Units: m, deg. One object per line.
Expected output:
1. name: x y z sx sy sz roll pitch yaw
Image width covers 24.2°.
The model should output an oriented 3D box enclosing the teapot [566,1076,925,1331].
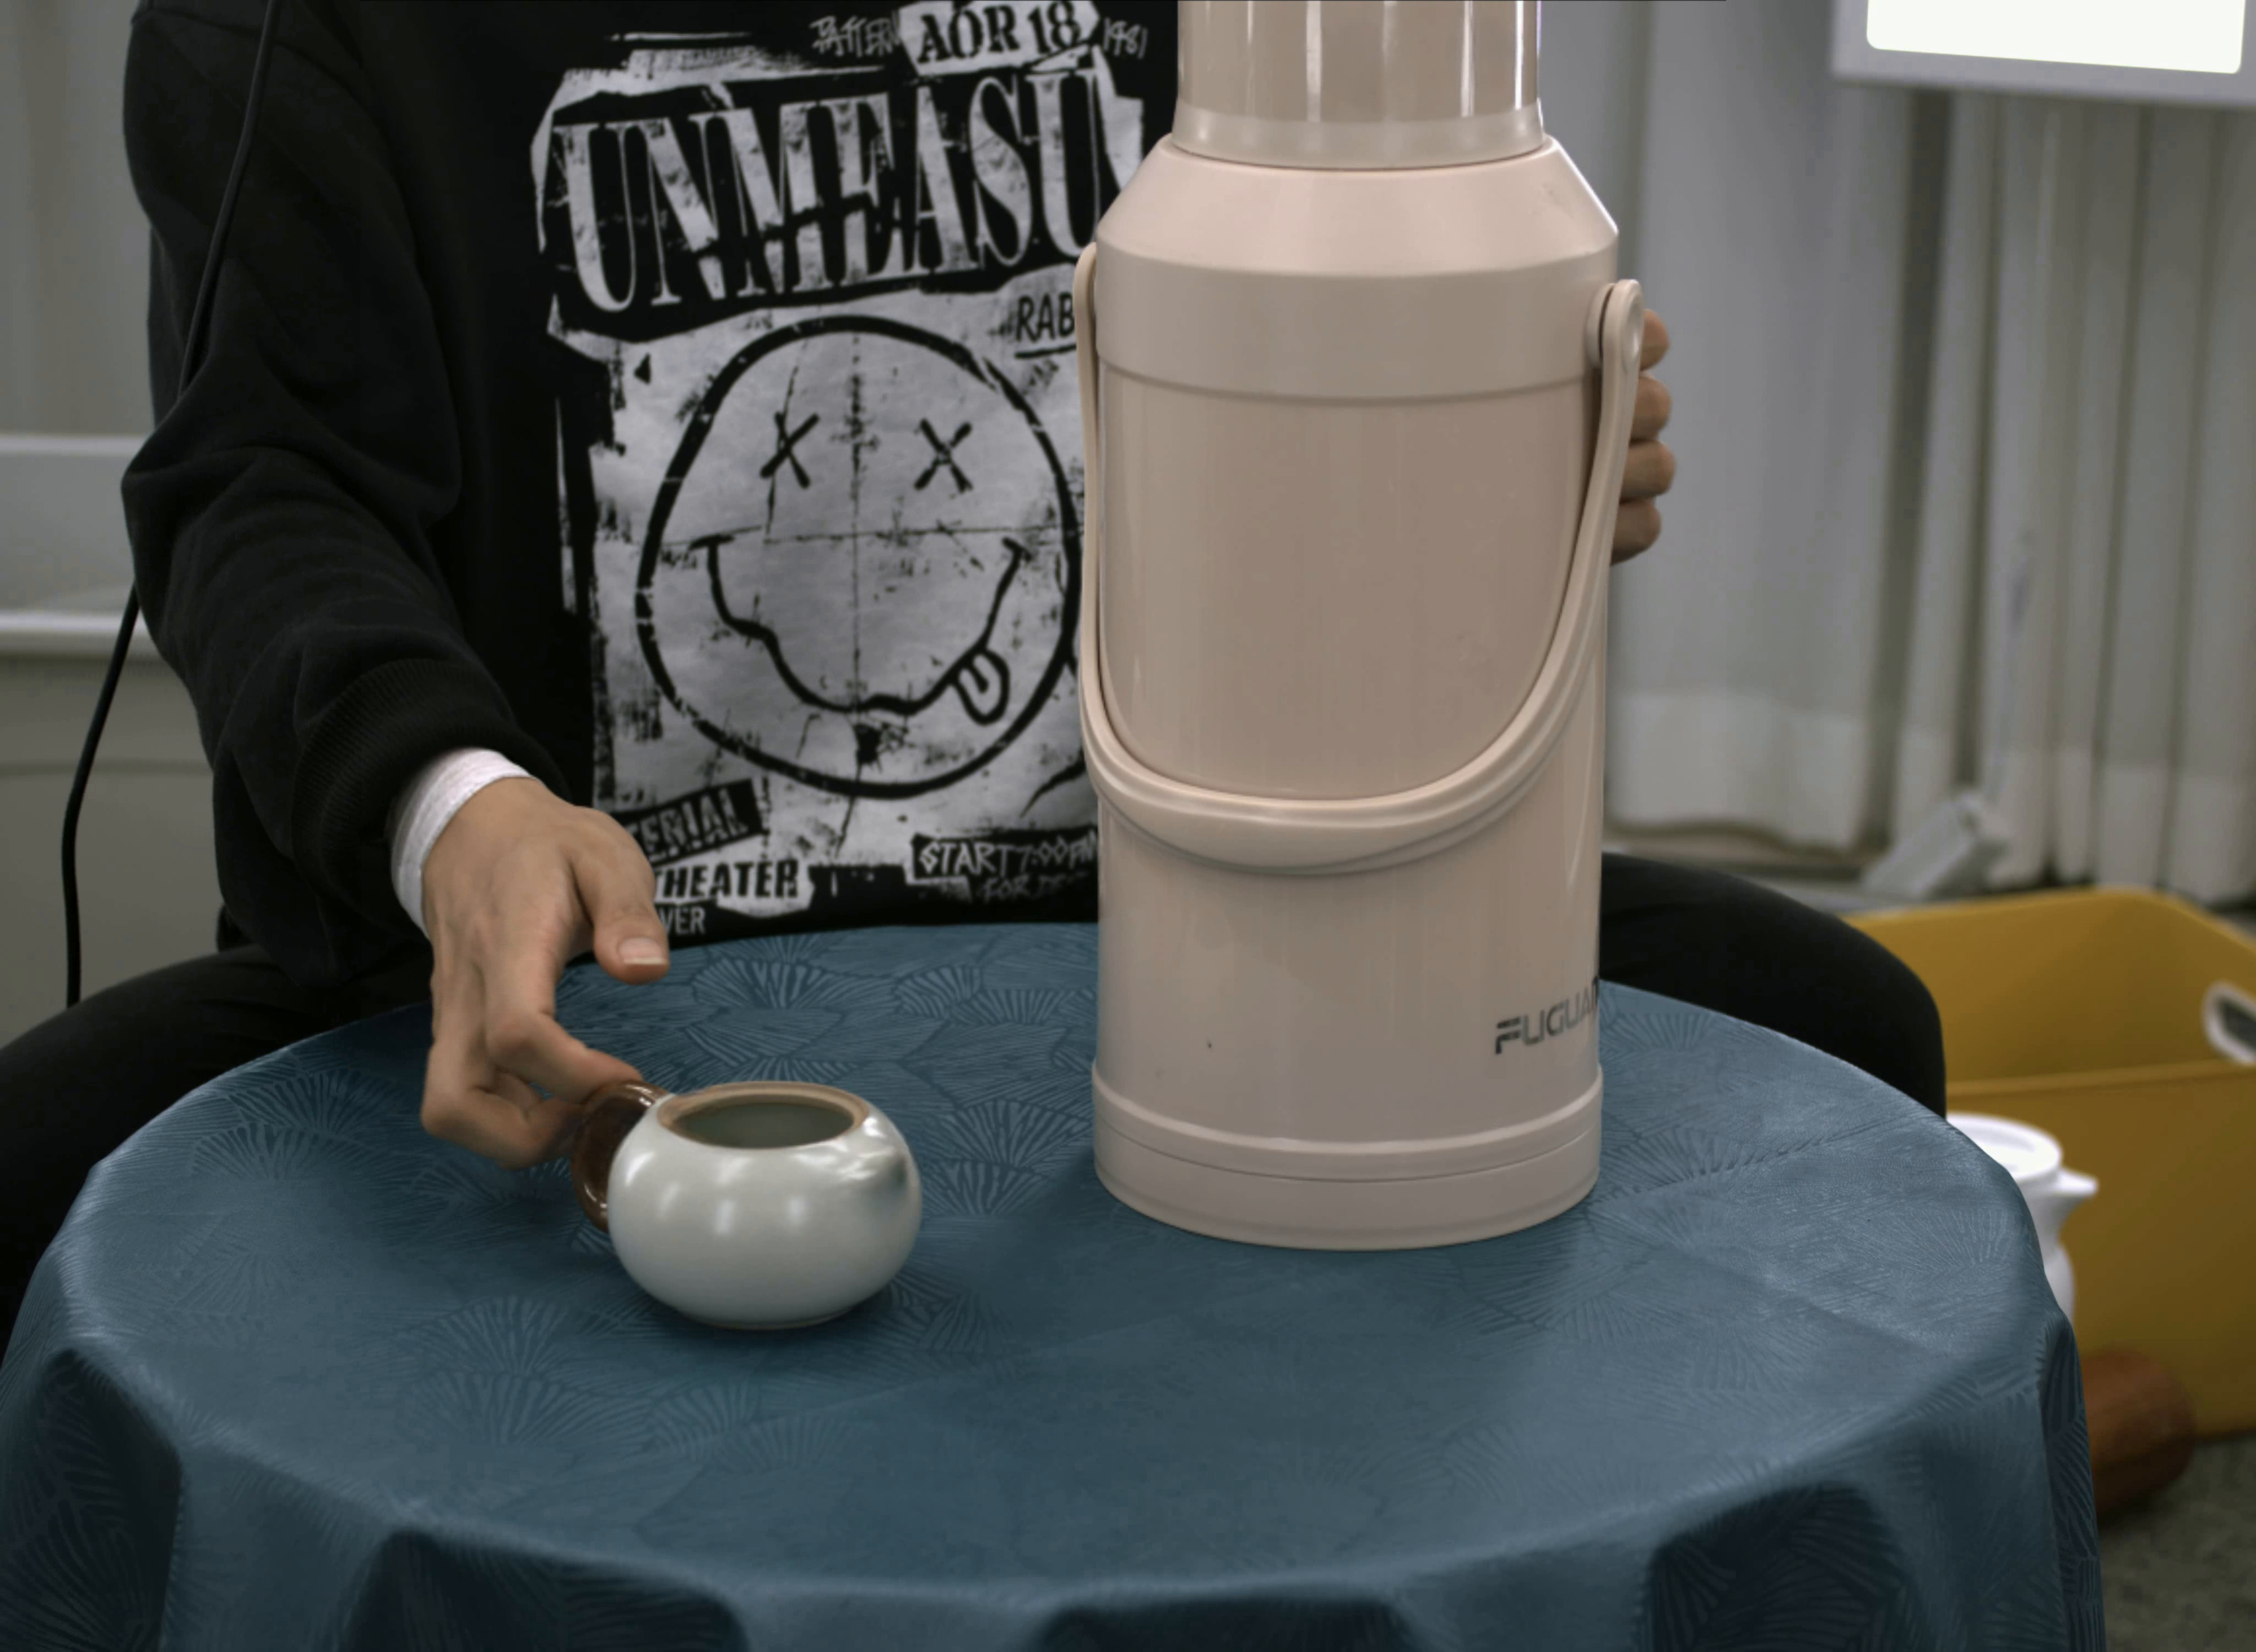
1. teapot: -0.113 0.107 1.527 0.126 0.060 0.092 12 22 31

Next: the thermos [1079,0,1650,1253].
1. thermos: 0.077 -0.088 1.603 0.173 0.410 0.207 5 17 21
